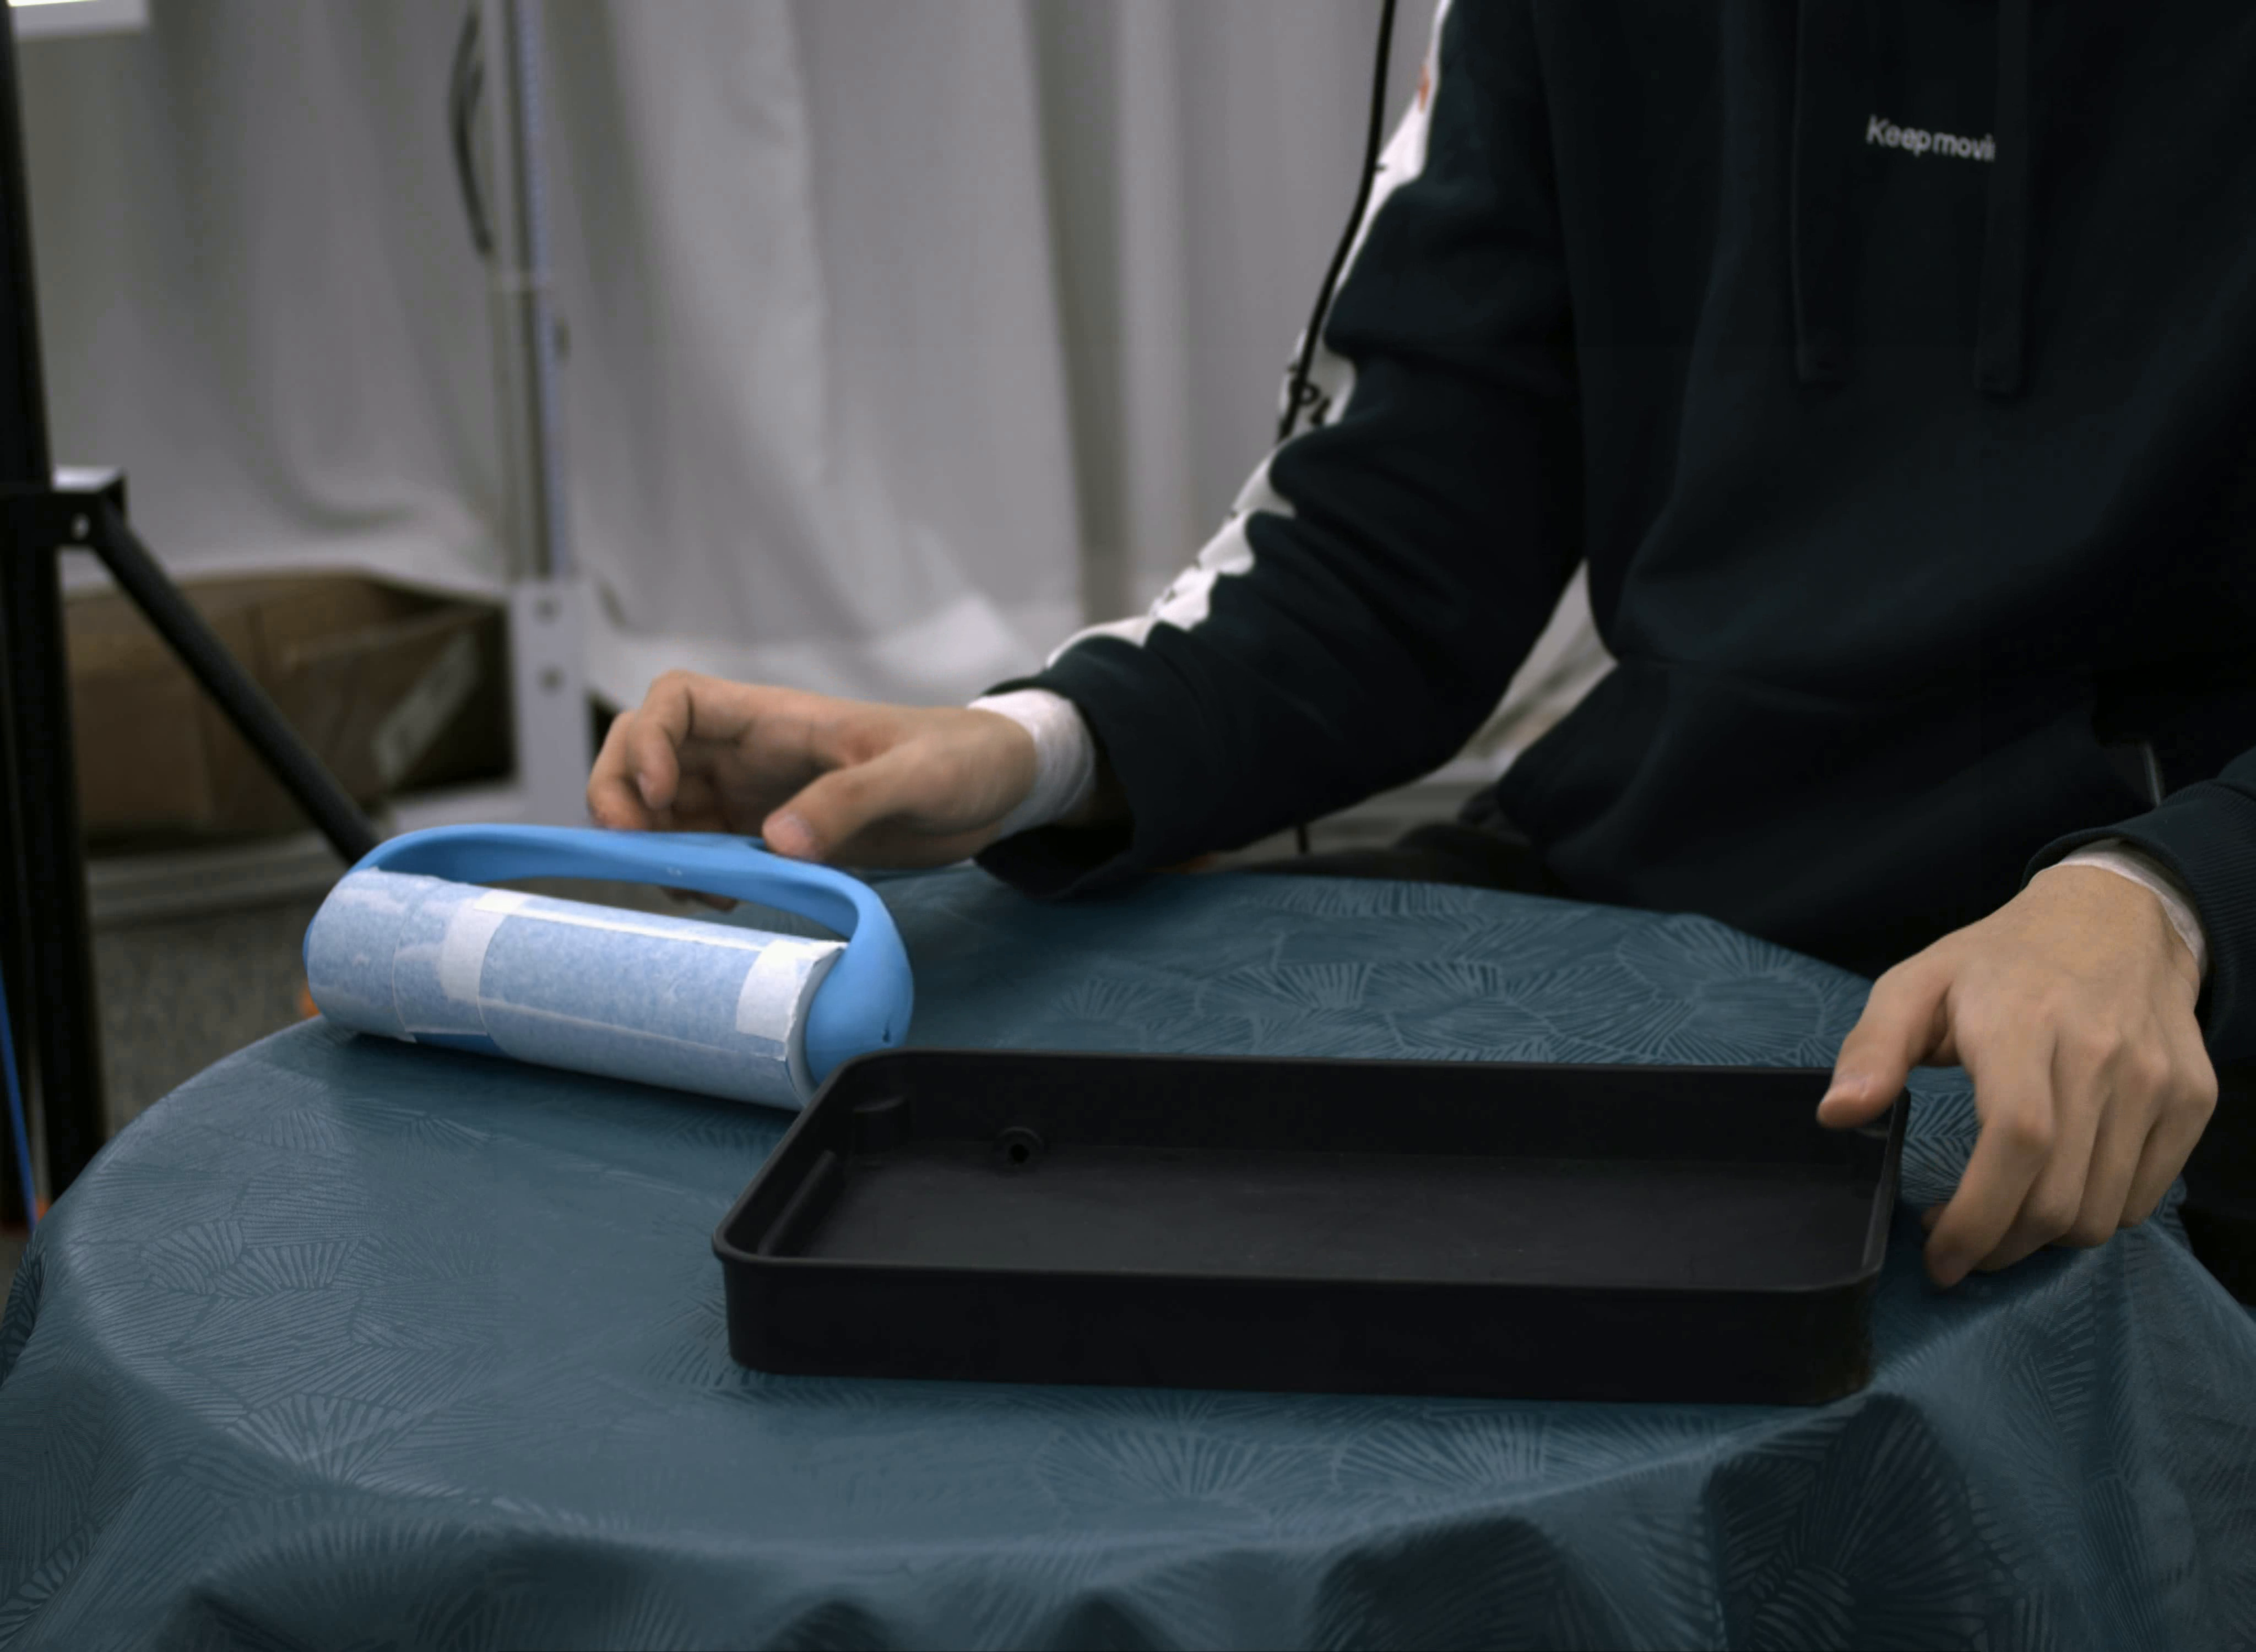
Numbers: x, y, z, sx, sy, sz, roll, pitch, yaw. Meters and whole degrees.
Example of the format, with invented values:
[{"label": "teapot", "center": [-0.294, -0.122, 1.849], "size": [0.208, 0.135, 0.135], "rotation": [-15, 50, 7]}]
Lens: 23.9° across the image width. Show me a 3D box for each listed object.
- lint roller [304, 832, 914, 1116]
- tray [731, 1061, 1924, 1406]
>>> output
[{"label": "lint roller", "center": [-0.139, 0.035, 1.734], "size": [0.233, 0.068, 0.177], "rotation": [5, 19, 32]}, {"label": "tray", "center": [0.061, 0.111, 1.476], "size": [0.319, 0.037, 0.183], "rotation": [-1, 16, 12]}]
